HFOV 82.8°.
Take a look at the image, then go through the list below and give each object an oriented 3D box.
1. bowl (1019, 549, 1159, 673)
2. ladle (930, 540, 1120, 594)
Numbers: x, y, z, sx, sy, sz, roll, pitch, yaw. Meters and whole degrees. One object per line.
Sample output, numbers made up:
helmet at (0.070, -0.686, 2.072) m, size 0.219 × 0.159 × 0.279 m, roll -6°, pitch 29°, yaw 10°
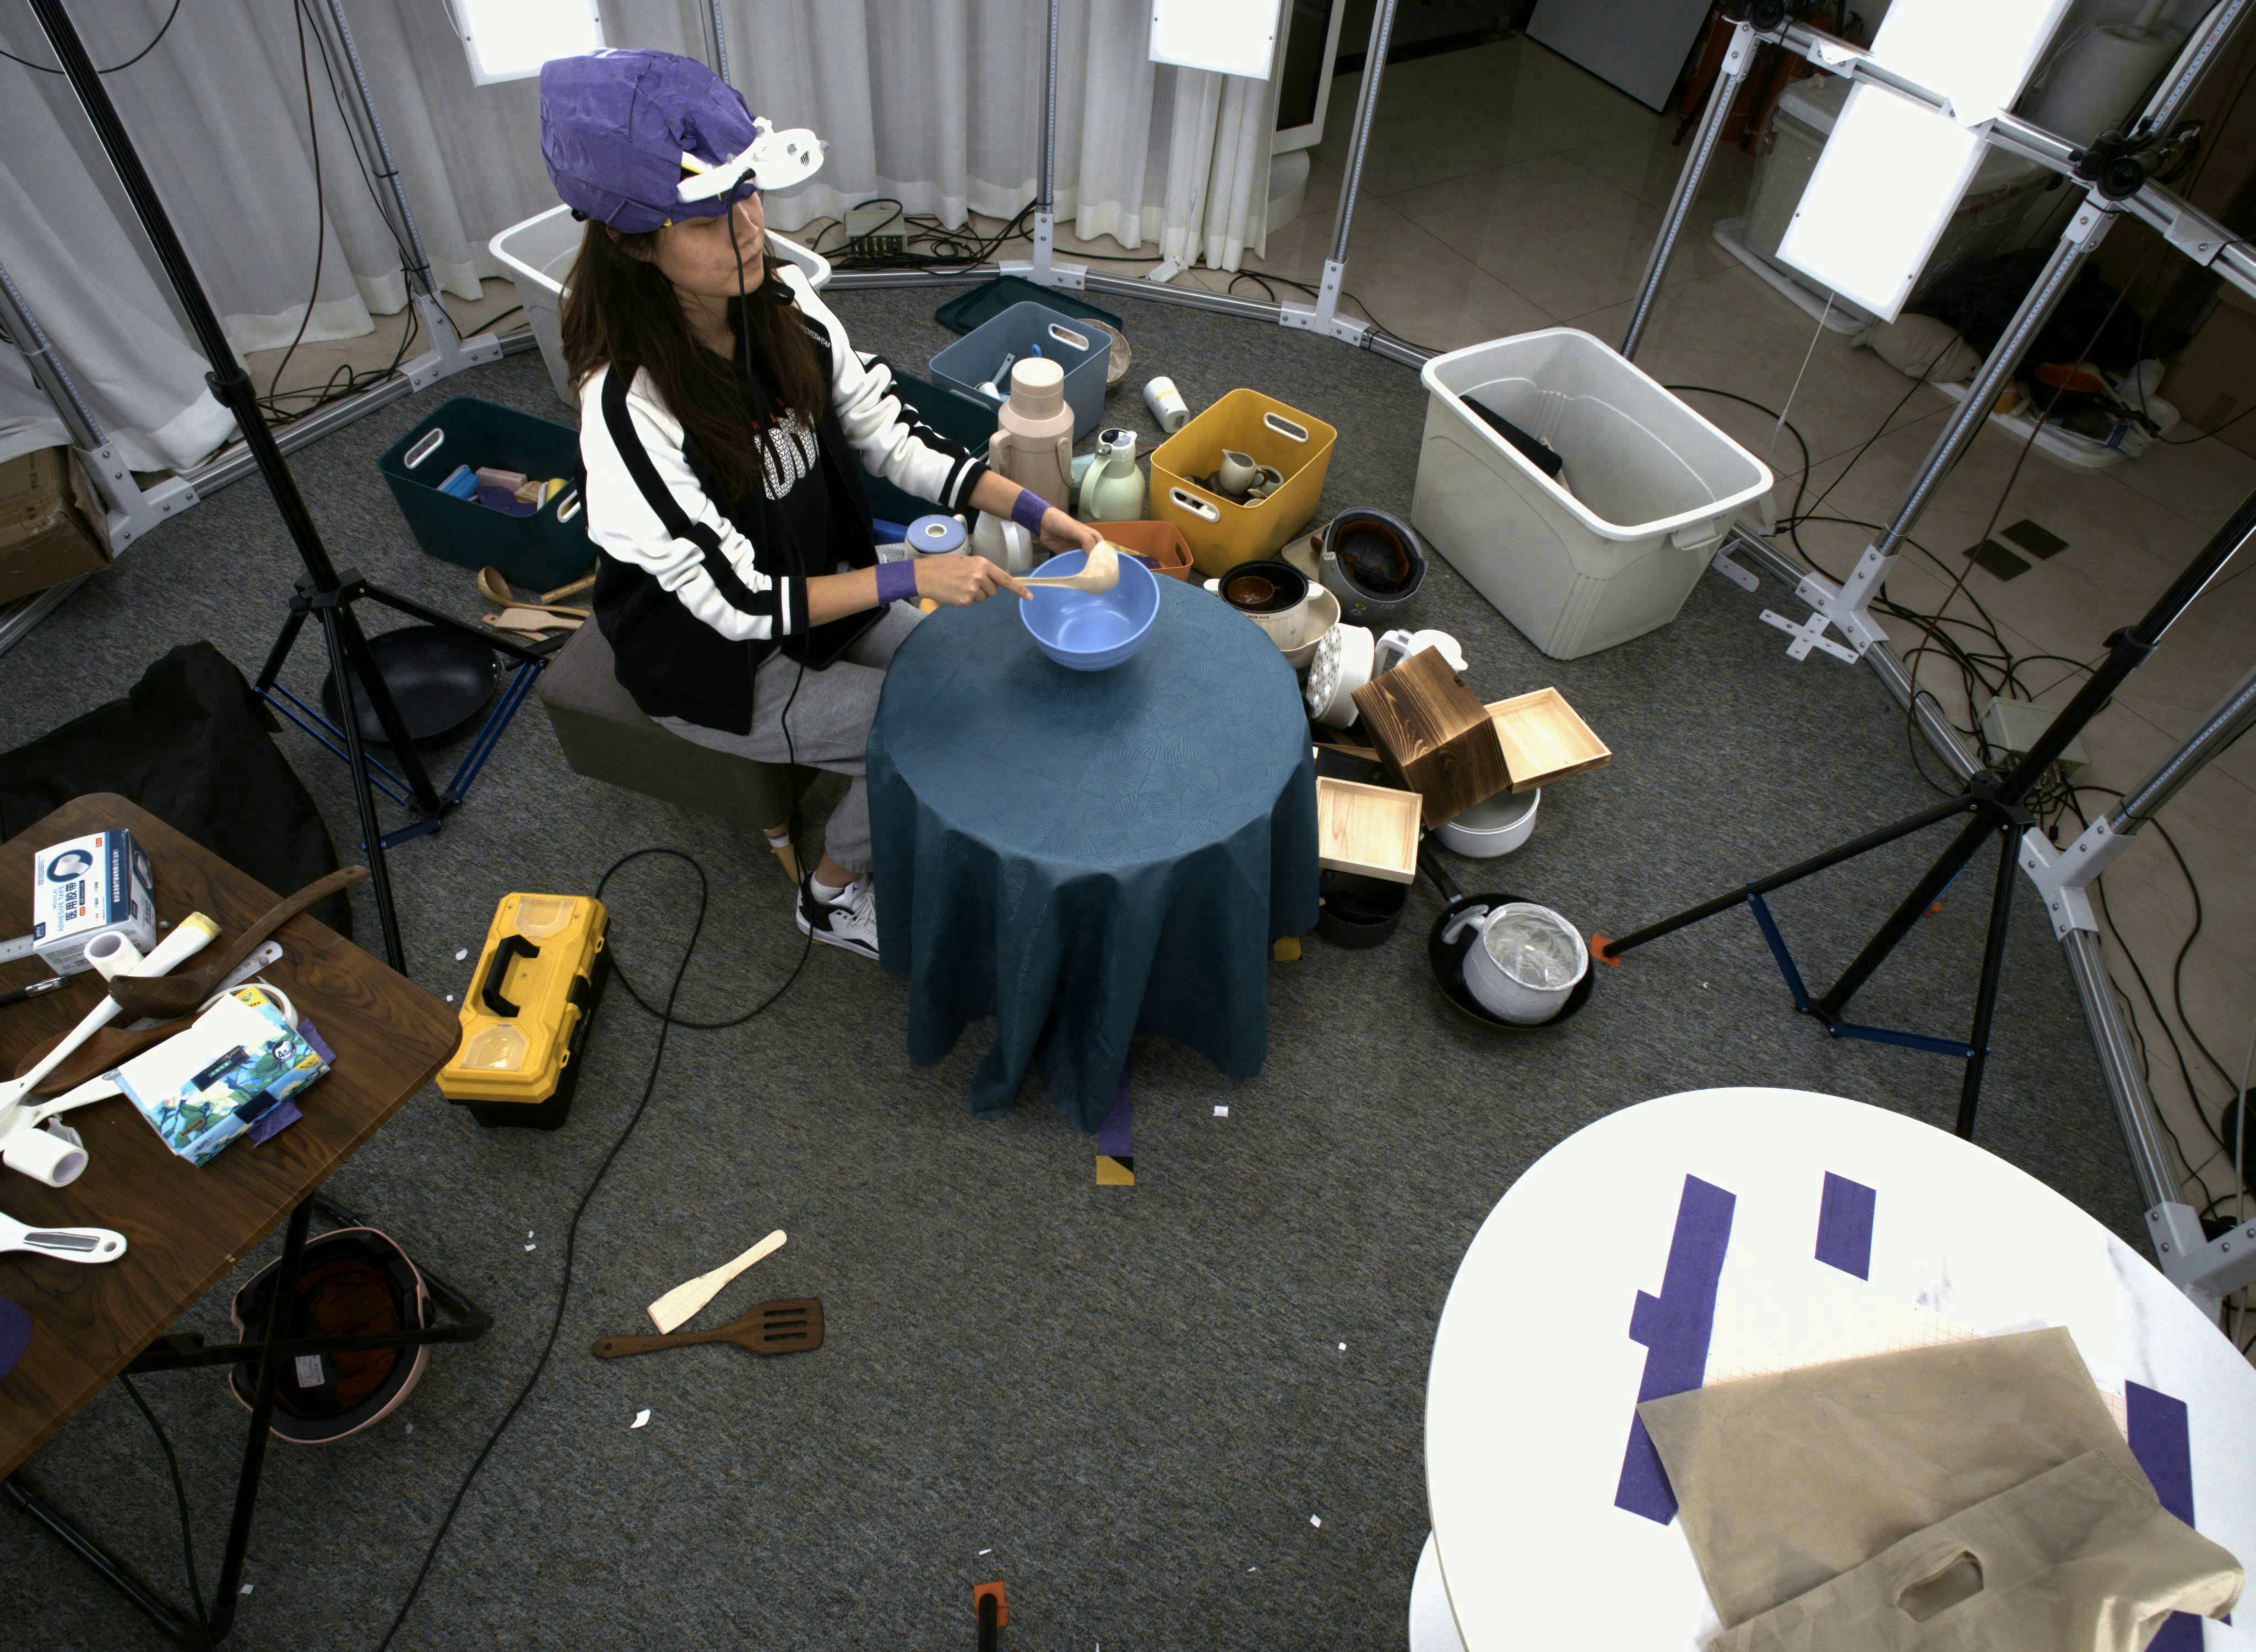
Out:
bowl at (-0.052, -0.291, 1.835) m, size 0.196 × 0.093 × 0.201 m, roll -2°, pitch 56°, yaw 3°
ladle at (-0.137, -0.353, 1.752) m, size 0.254 × 0.070 × 0.074 m, roll 1°, pitch 44°, yaw 2°
